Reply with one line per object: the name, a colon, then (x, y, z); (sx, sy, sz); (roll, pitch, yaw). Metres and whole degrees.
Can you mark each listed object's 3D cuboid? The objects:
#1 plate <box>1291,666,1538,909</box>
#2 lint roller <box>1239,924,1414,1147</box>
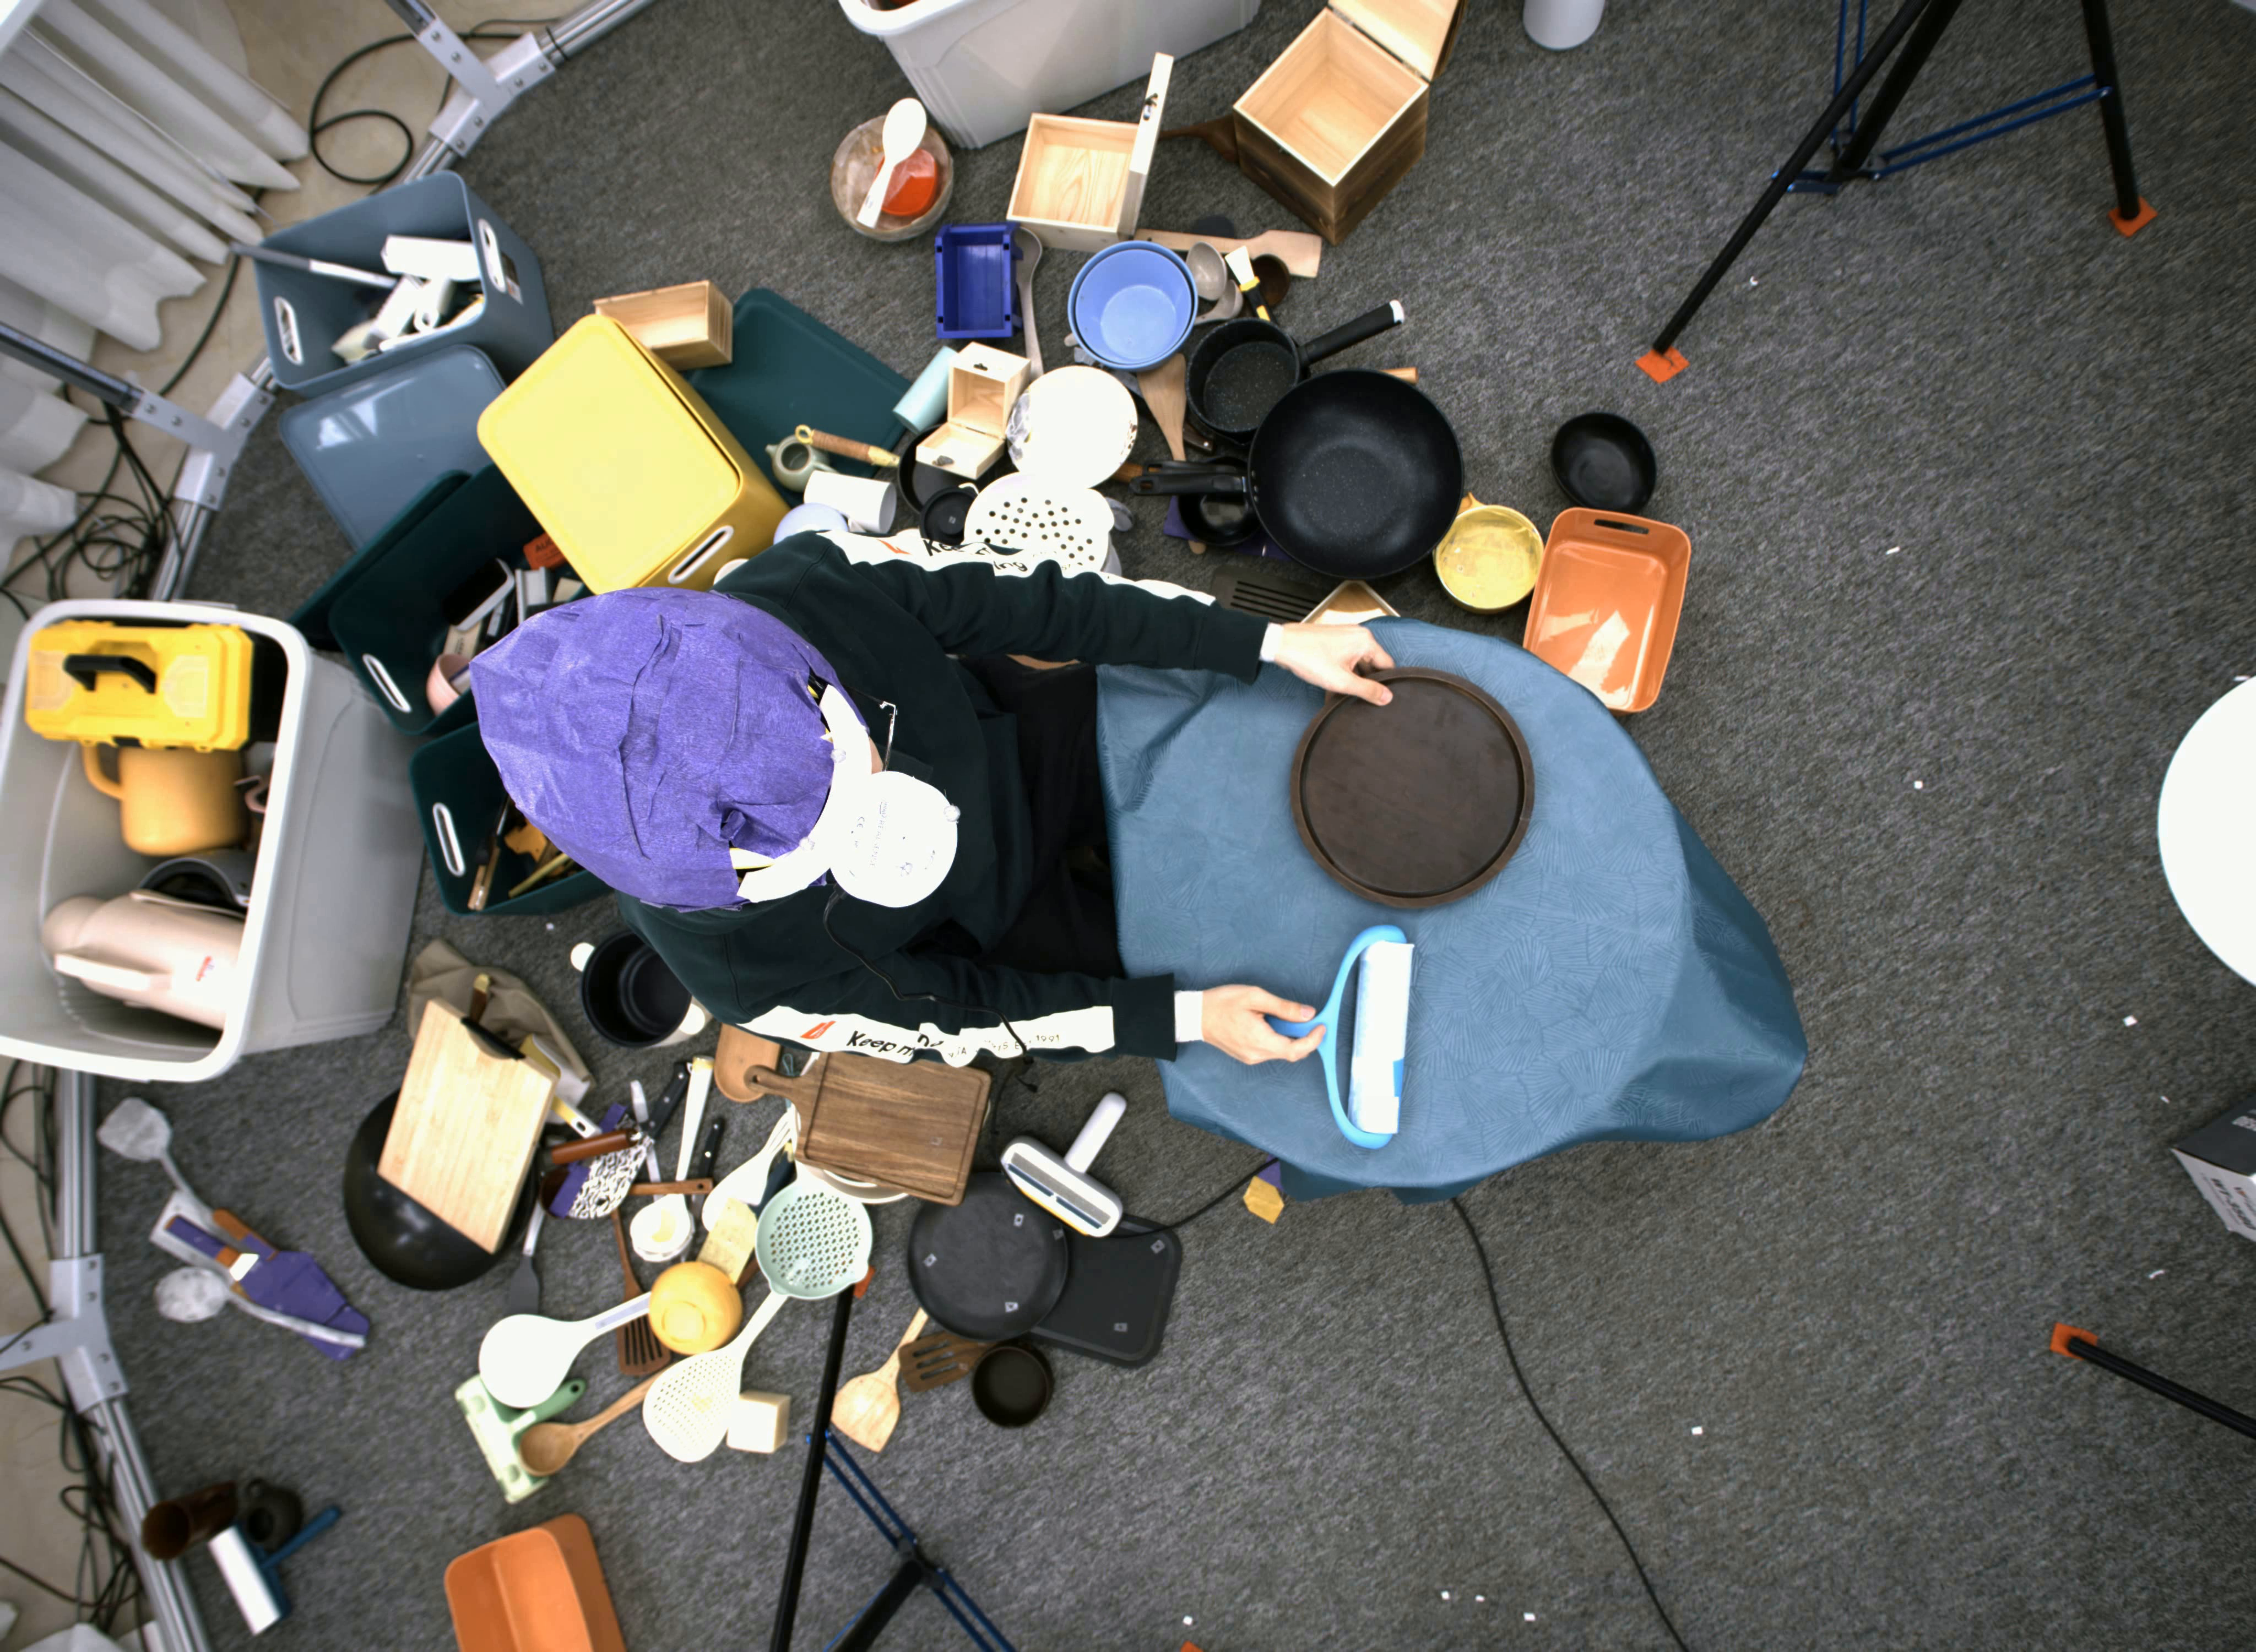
plate: (0.296, -0.042, 1.437); (0.255, 0.029, 0.254); (0, 91, 9)
lint roller: (0.202, 0.212, 1.432); (0.181, 0.068, 0.228); (1, 89, 10)
